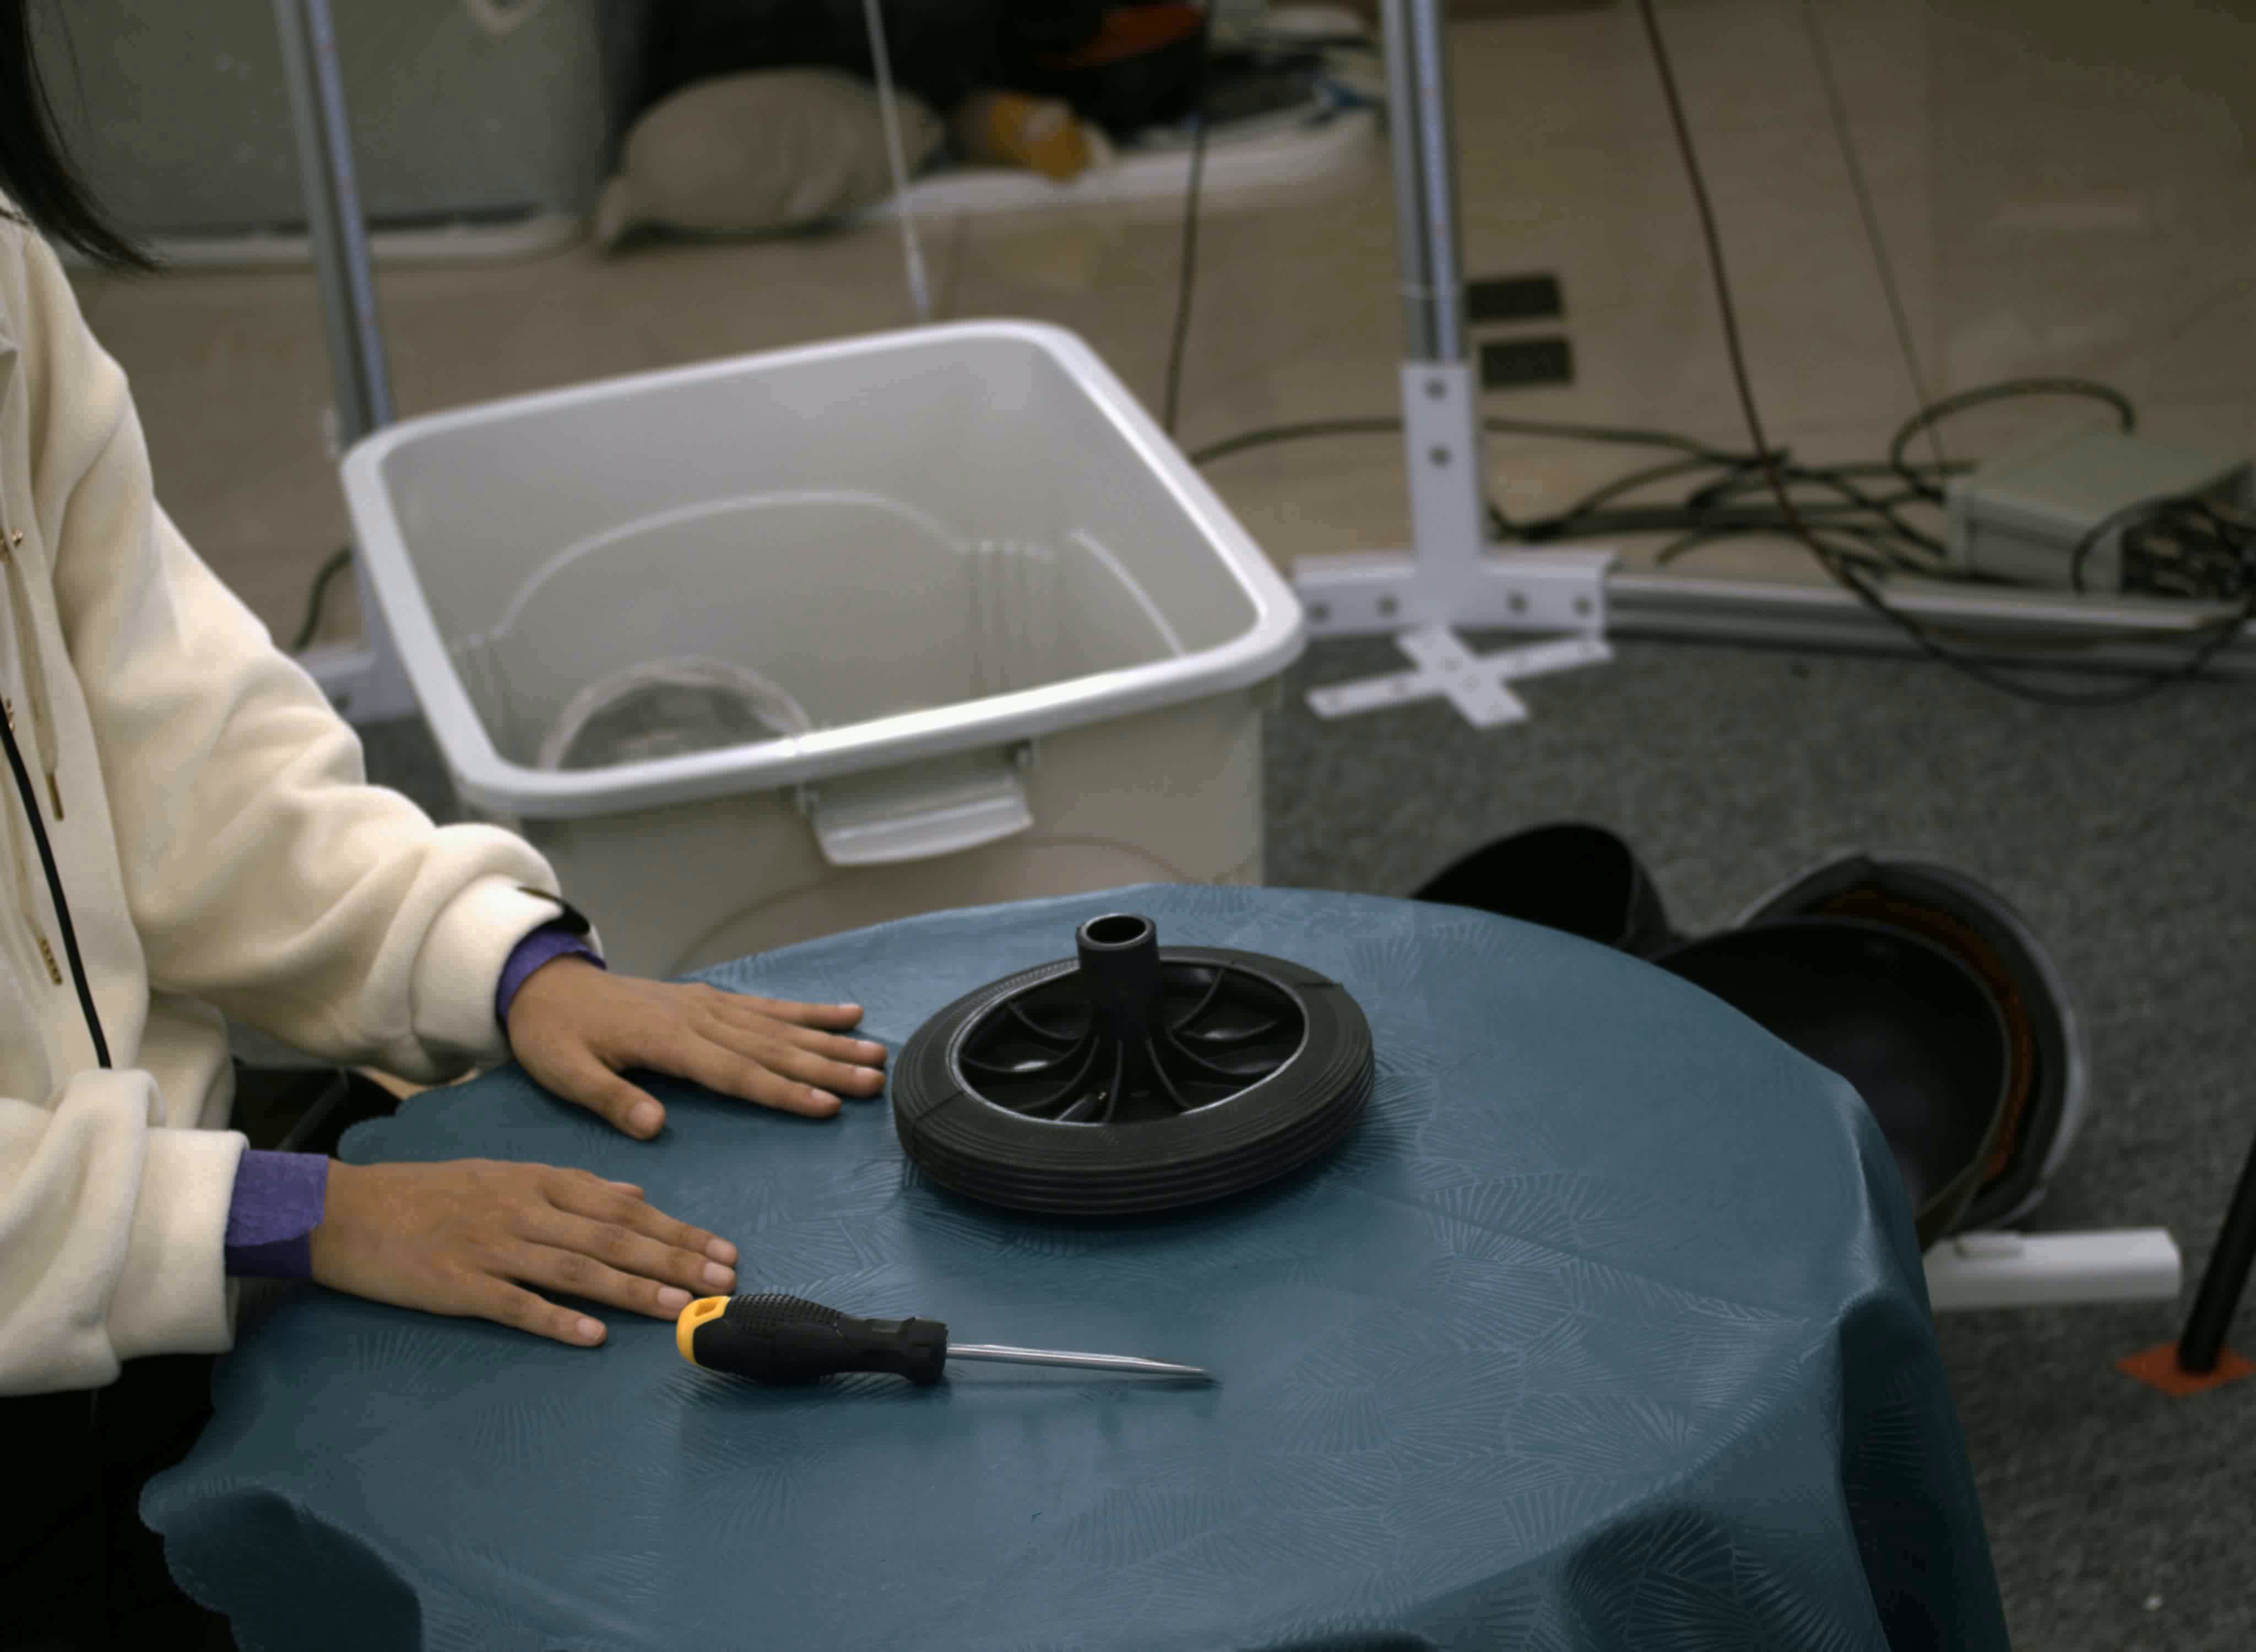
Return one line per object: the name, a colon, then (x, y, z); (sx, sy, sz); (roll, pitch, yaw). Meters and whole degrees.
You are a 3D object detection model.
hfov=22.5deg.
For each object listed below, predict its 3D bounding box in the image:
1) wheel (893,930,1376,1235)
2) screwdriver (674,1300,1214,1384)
wheel: (0.000, 0.082, 2.182); (0.187, 0.080, 0.187); (-1, 29, 11)
screwdriver: (-0.067, 0.189, 2.029); (0.197, 0.032, 0.031); (3, 27, 14)
